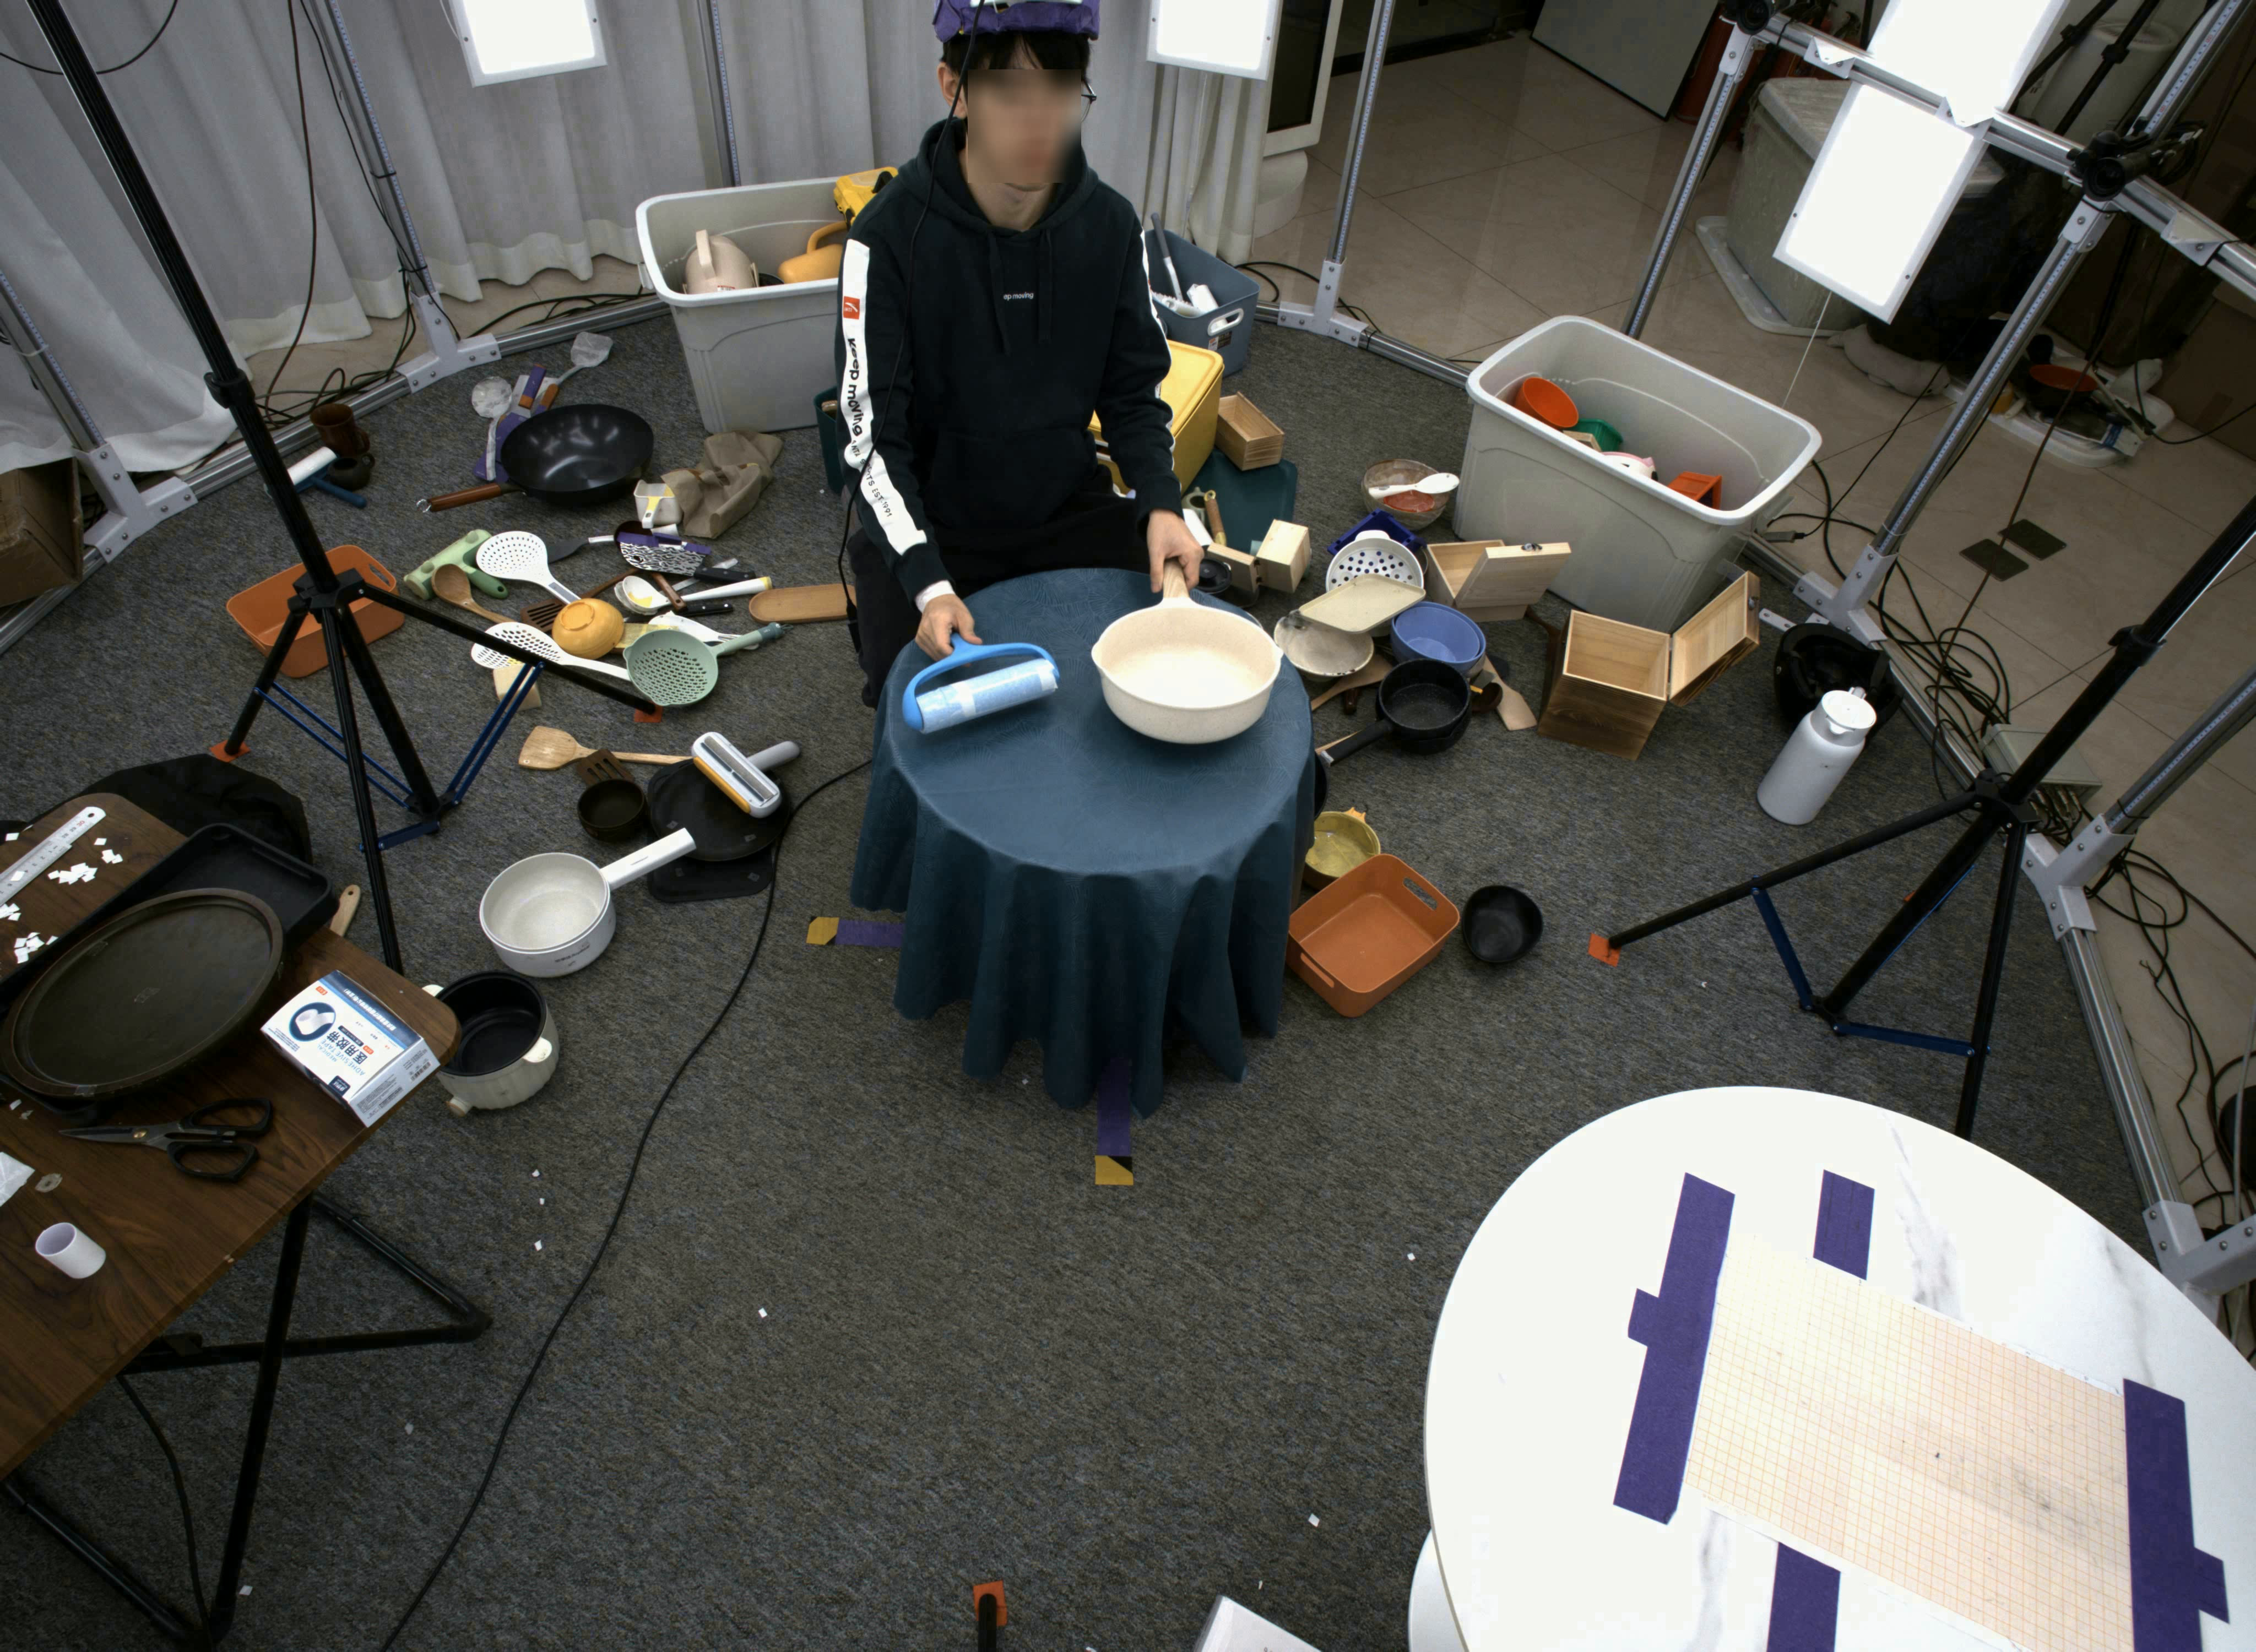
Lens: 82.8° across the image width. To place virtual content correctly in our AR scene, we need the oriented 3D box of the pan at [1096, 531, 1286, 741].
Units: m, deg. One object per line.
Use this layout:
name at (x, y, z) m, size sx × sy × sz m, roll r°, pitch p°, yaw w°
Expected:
pan at (0.077, -0.274, 1.839) m, size 0.263 × 0.099 × 0.446 m, roll -3°, pitch 40°, yaw -5°

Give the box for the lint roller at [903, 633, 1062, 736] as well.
lint roller at (-0.225, -0.220, 1.776) m, size 0.230 × 0.066 × 0.184 m, roll -23°, pitch 57°, yaw -22°
